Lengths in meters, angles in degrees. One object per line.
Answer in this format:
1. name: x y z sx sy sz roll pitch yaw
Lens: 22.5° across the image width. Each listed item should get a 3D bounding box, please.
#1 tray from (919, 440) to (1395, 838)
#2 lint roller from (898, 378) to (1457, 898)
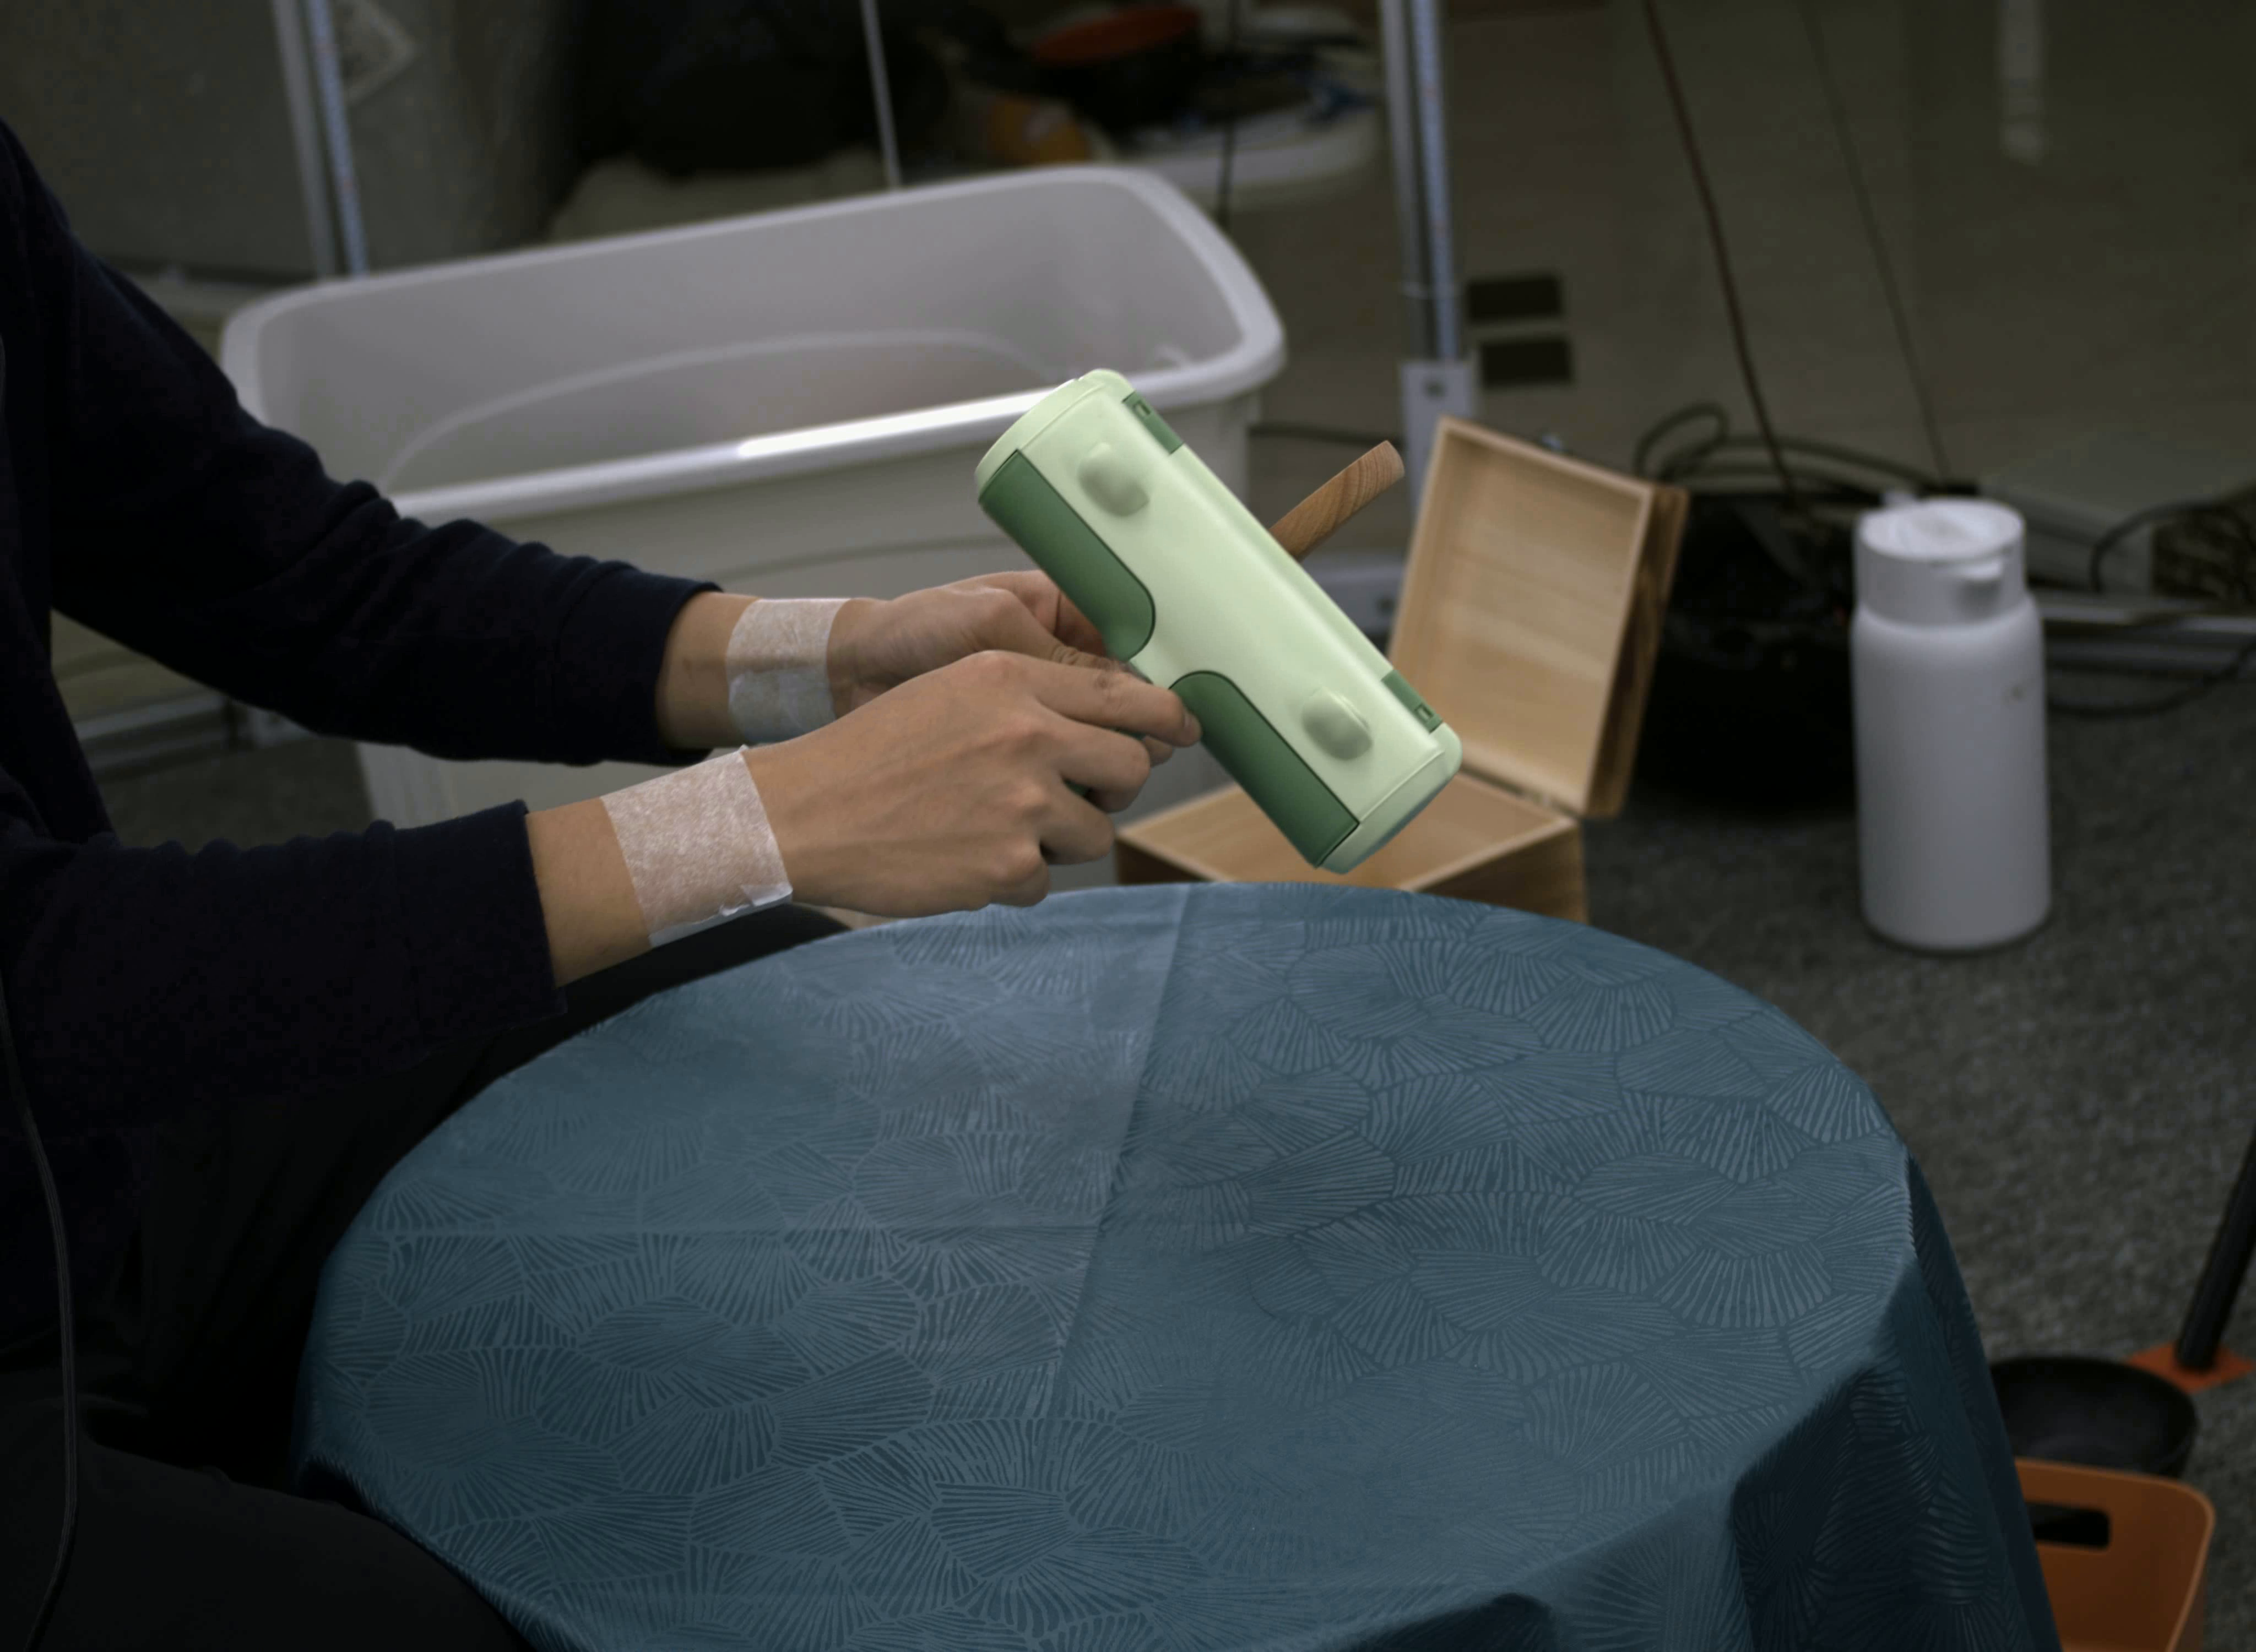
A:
1. tray: 0.010 -0.064 2.081 0.233 0.020 0.101 -42 -3 25
2. lint roller: -0.006 -0.042 1.956 0.198 0.083 0.181 47 58 4
